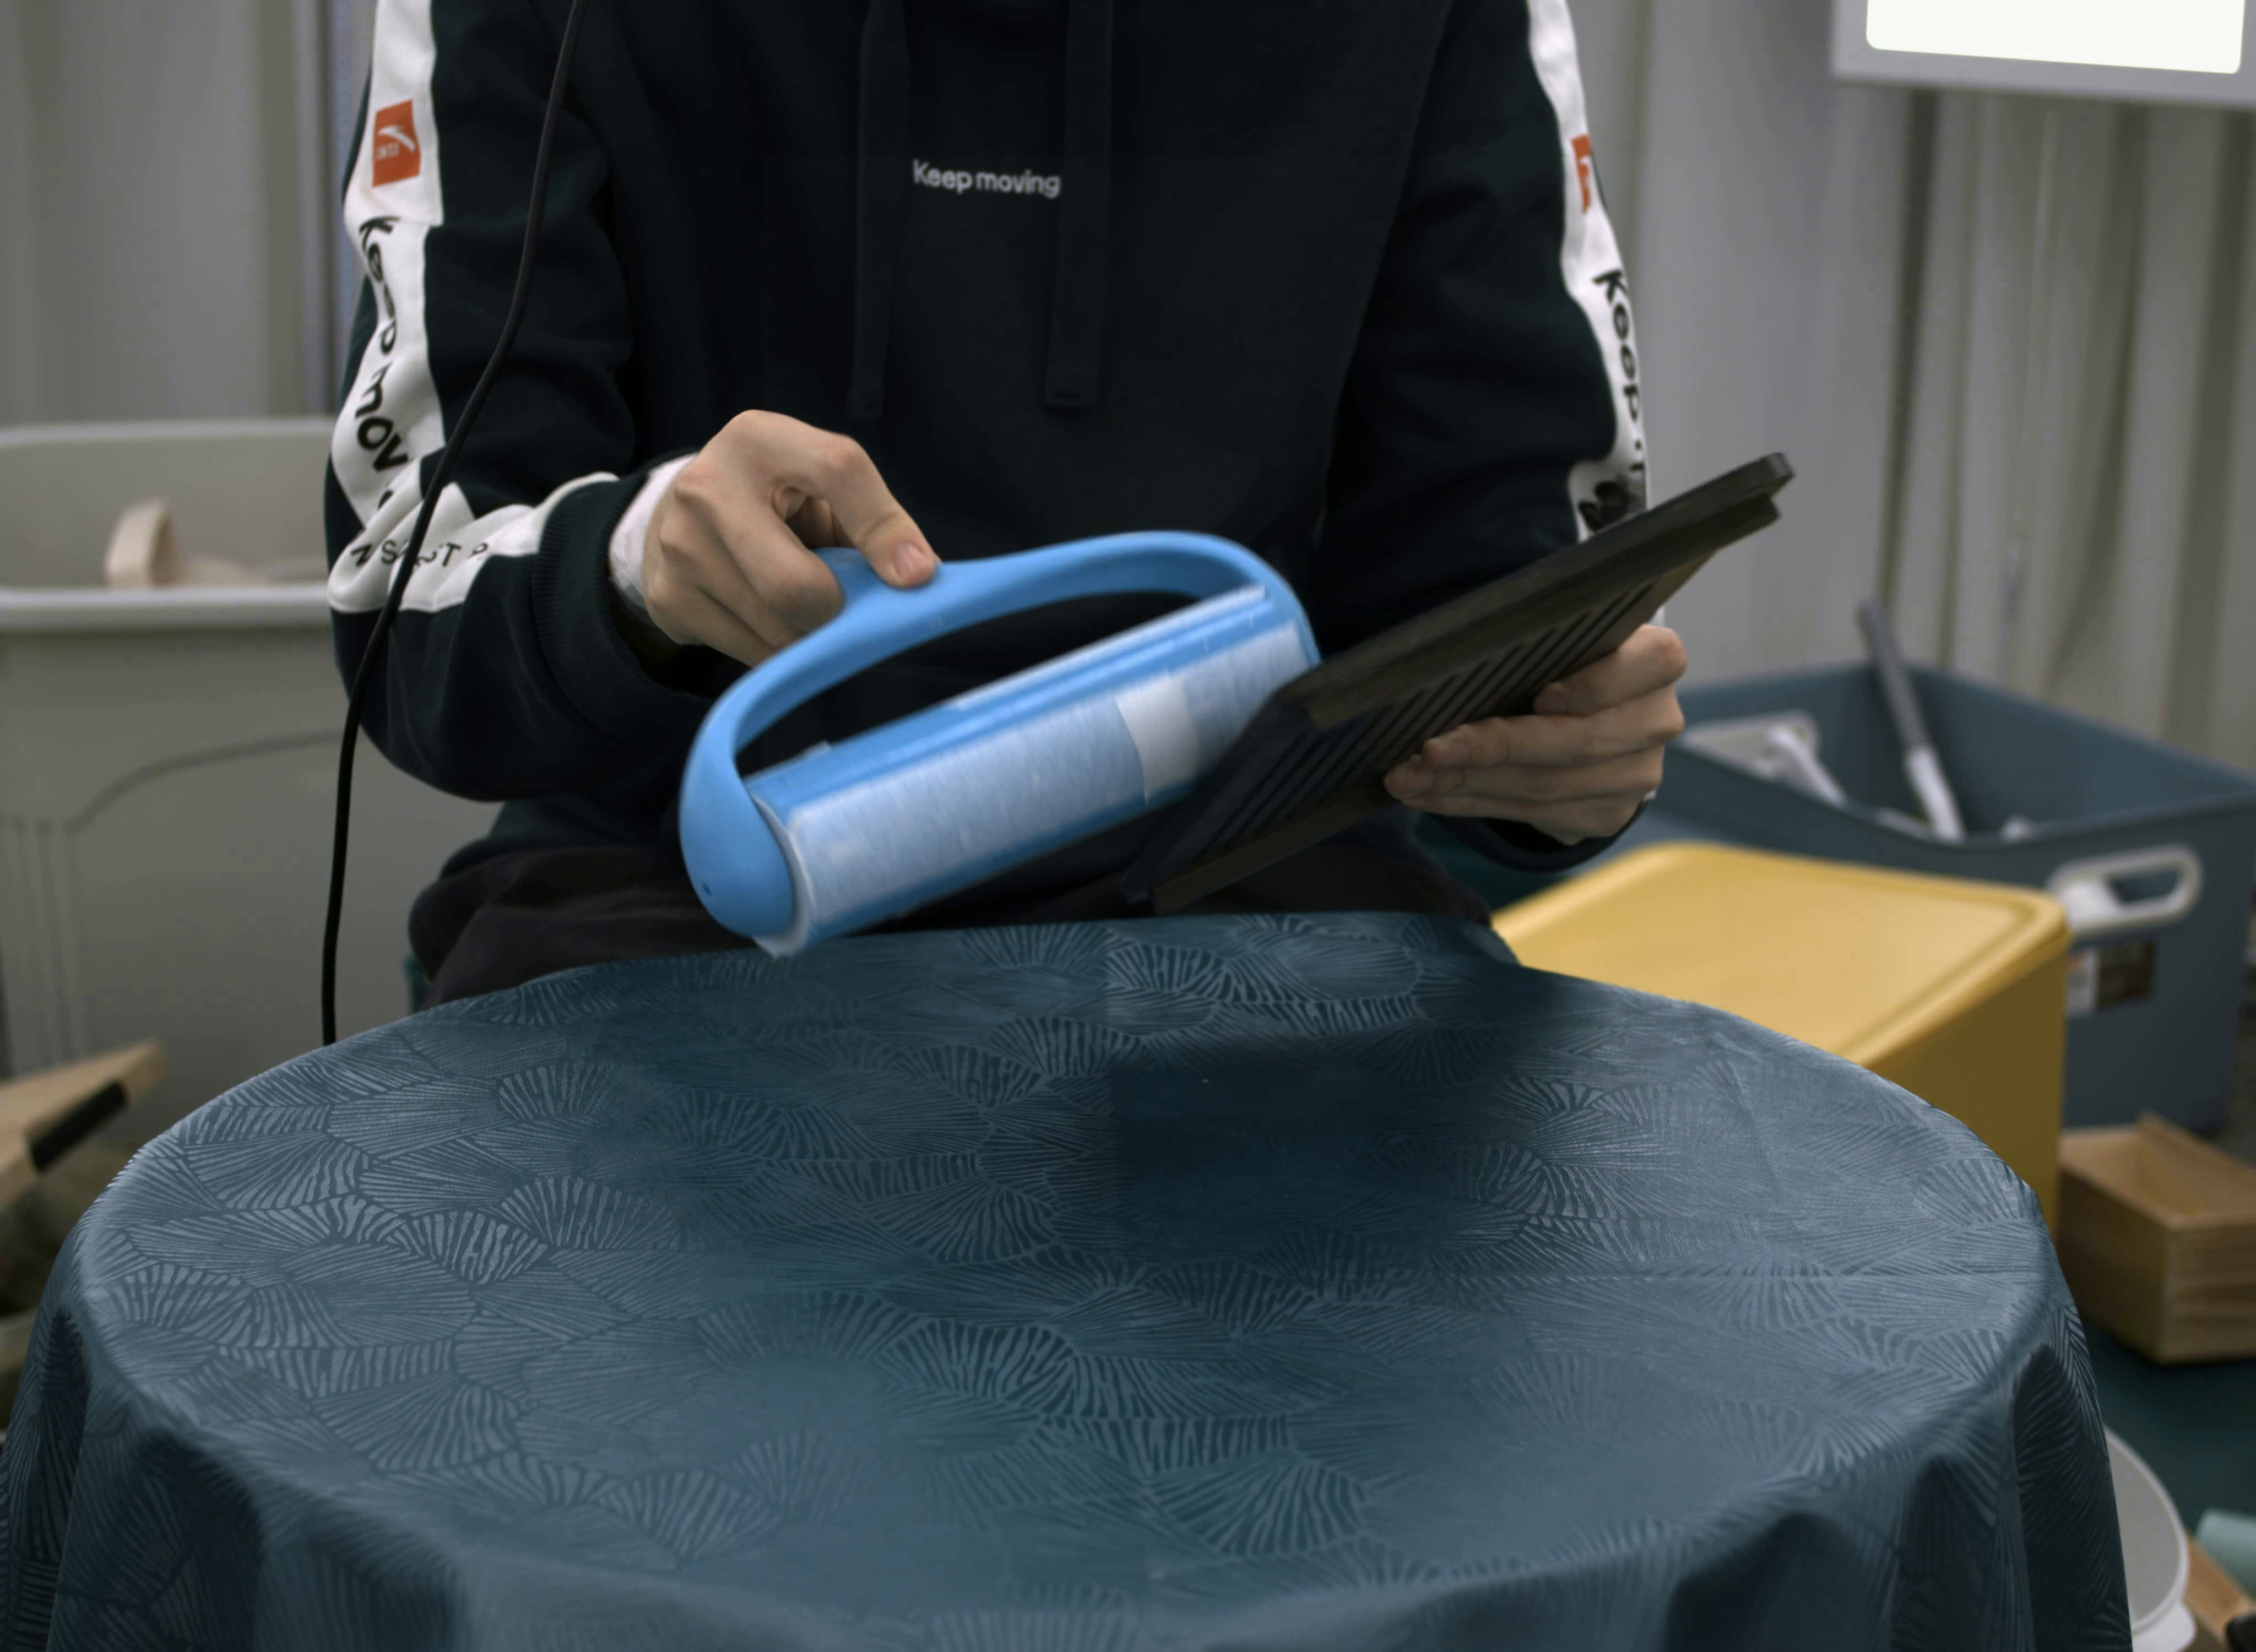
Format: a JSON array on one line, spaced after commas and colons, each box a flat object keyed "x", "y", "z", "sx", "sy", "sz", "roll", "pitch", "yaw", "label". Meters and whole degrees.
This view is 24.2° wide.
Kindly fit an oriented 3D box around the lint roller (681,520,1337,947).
[{"x": -0.069, "y": -0.050, "z": 1.603, "sx": 0.229, "sy": 0.069, "sz": 0.178, "roll": -26, "pitch": 44, "yaw": -32, "label": "lint roller"}]

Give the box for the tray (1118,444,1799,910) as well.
[{"x": 0.096, "y": -0.039, "z": 1.628, "sx": 0.170, "sy": 0.018, "sz": 0.306, "roll": -25, "pitch": -8, "yaw": -14, "label": "tray"}]
